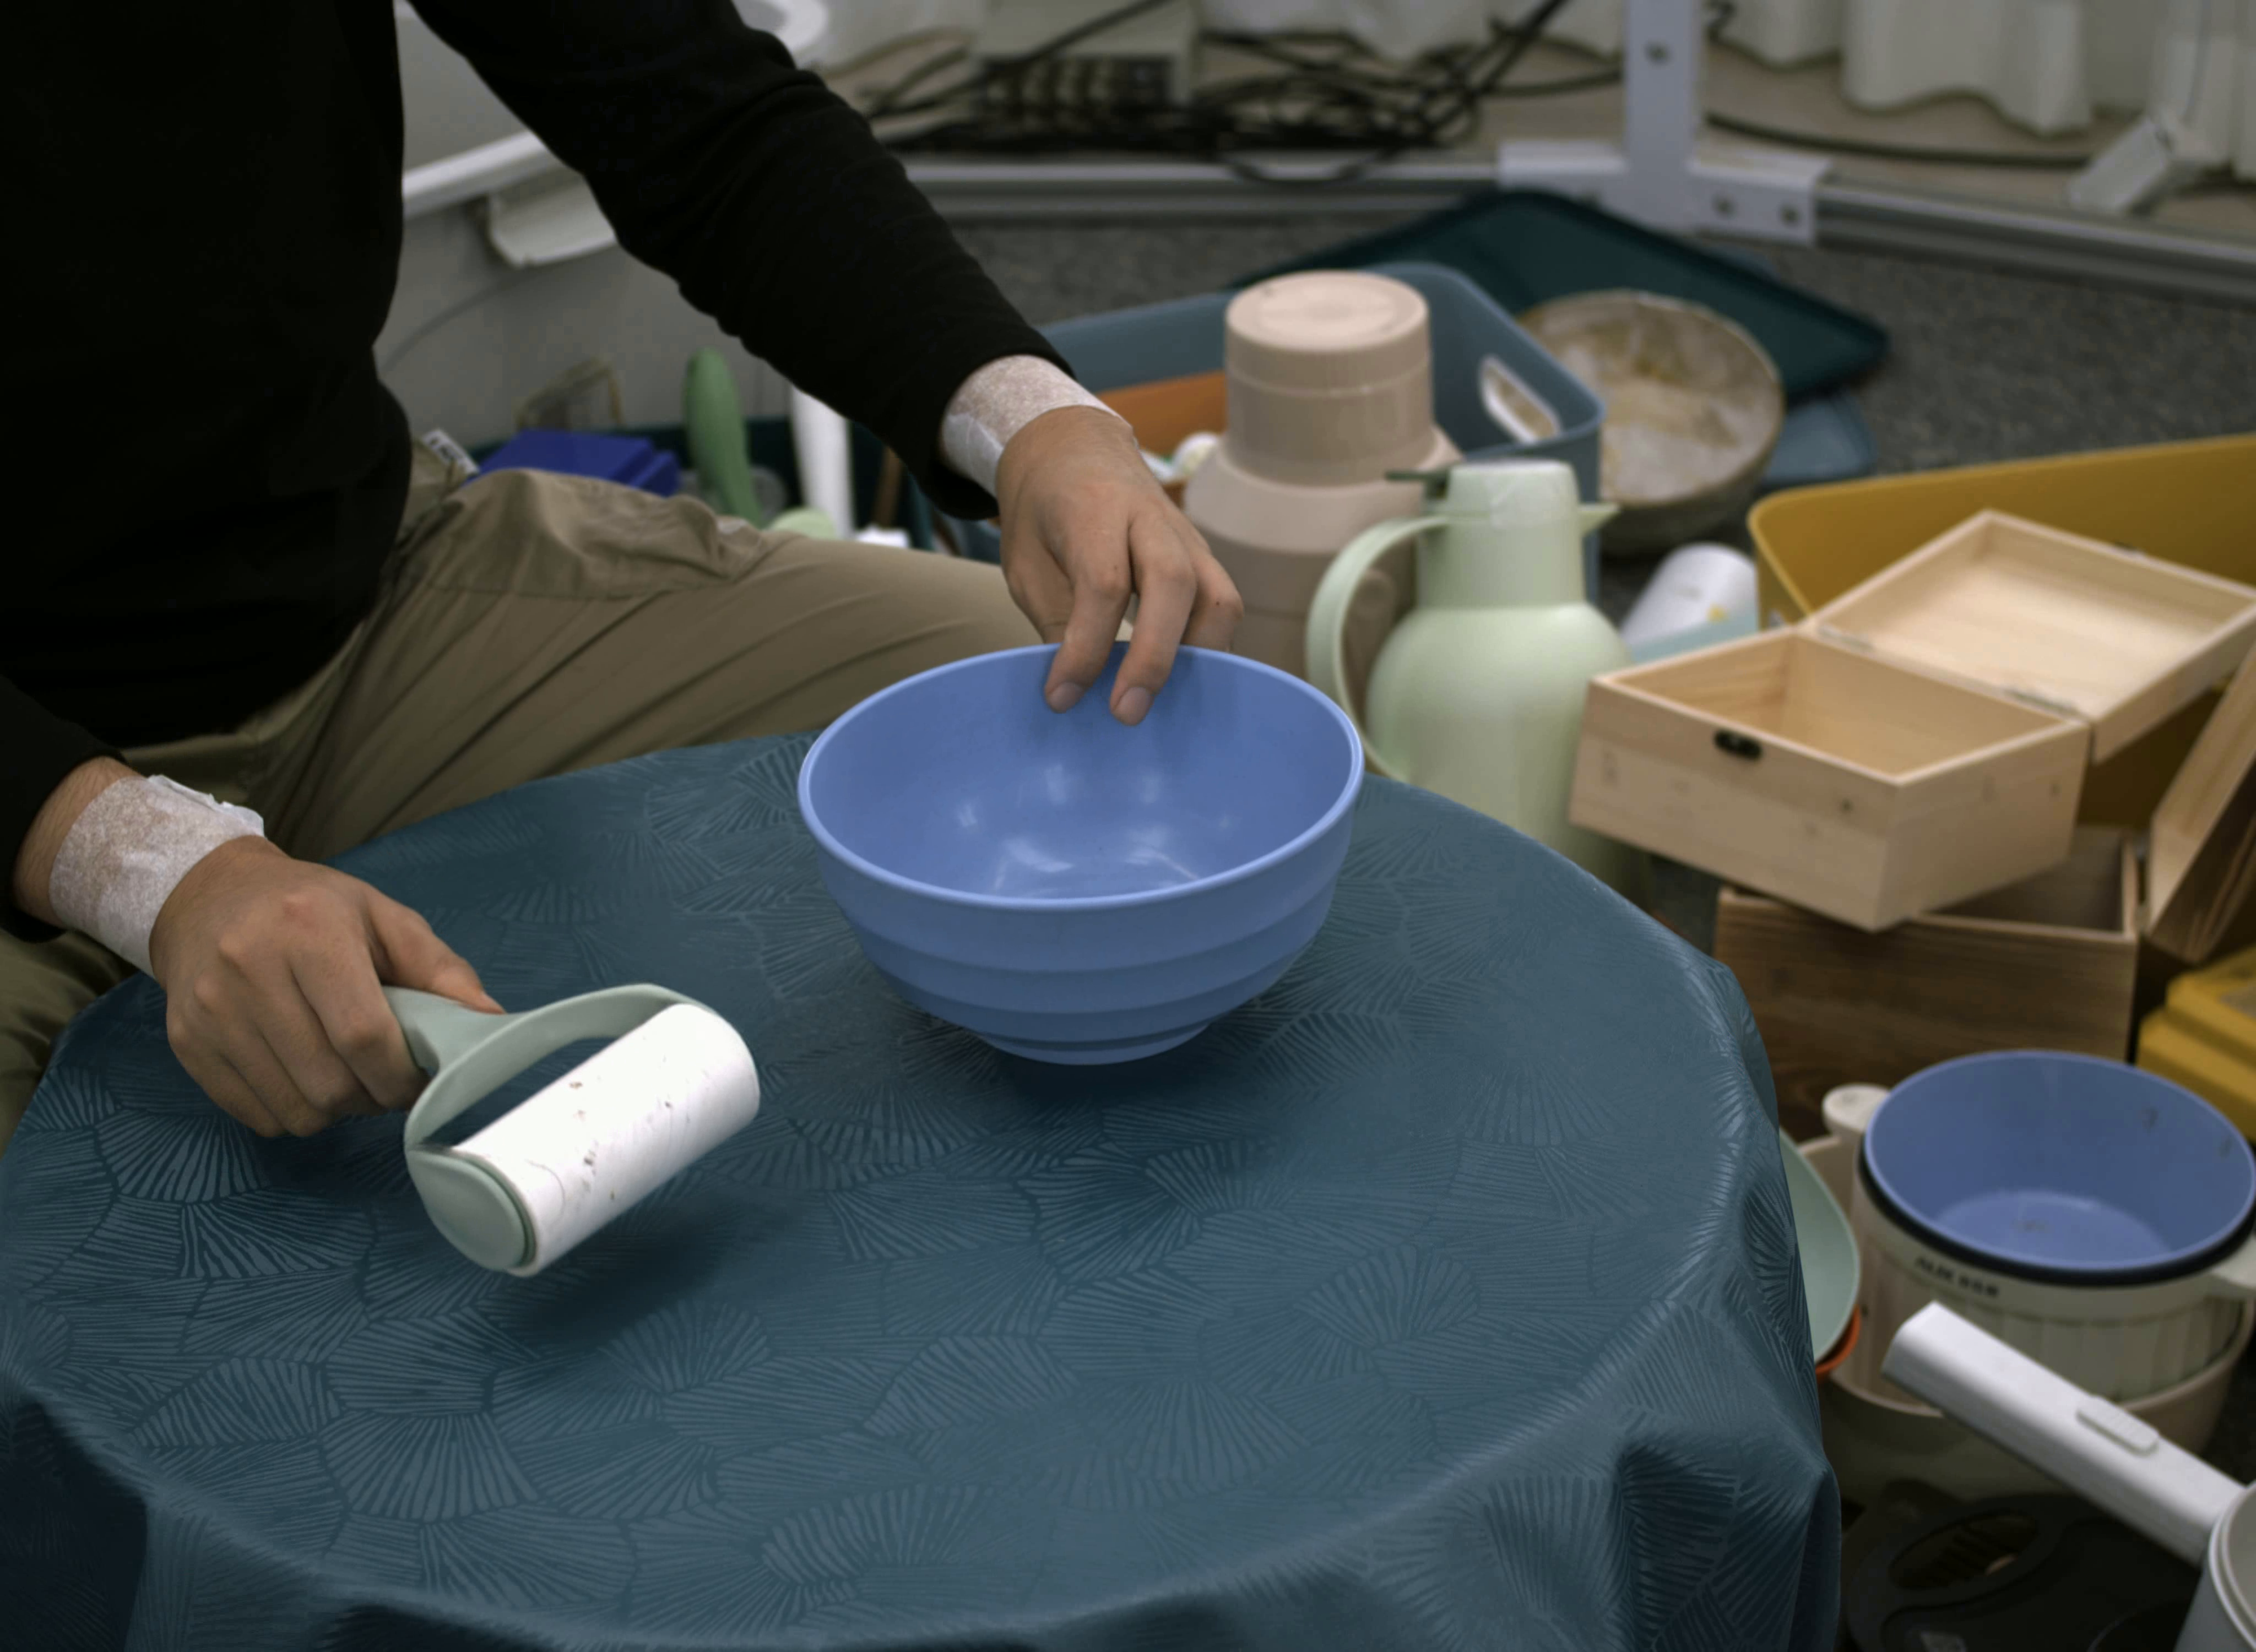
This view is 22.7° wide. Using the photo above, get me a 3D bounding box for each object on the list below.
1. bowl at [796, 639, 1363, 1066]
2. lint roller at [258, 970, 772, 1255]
[{"bbox_3d":[-0.014,0.020,1.956,0.195,0.094,0.199,-3,28,2],"label":"bowl"},{"bbox_3d":[-0.219,0.077,1.861,0.197,0.048,0.118,18,39,38],"label":"lint roller"}]
